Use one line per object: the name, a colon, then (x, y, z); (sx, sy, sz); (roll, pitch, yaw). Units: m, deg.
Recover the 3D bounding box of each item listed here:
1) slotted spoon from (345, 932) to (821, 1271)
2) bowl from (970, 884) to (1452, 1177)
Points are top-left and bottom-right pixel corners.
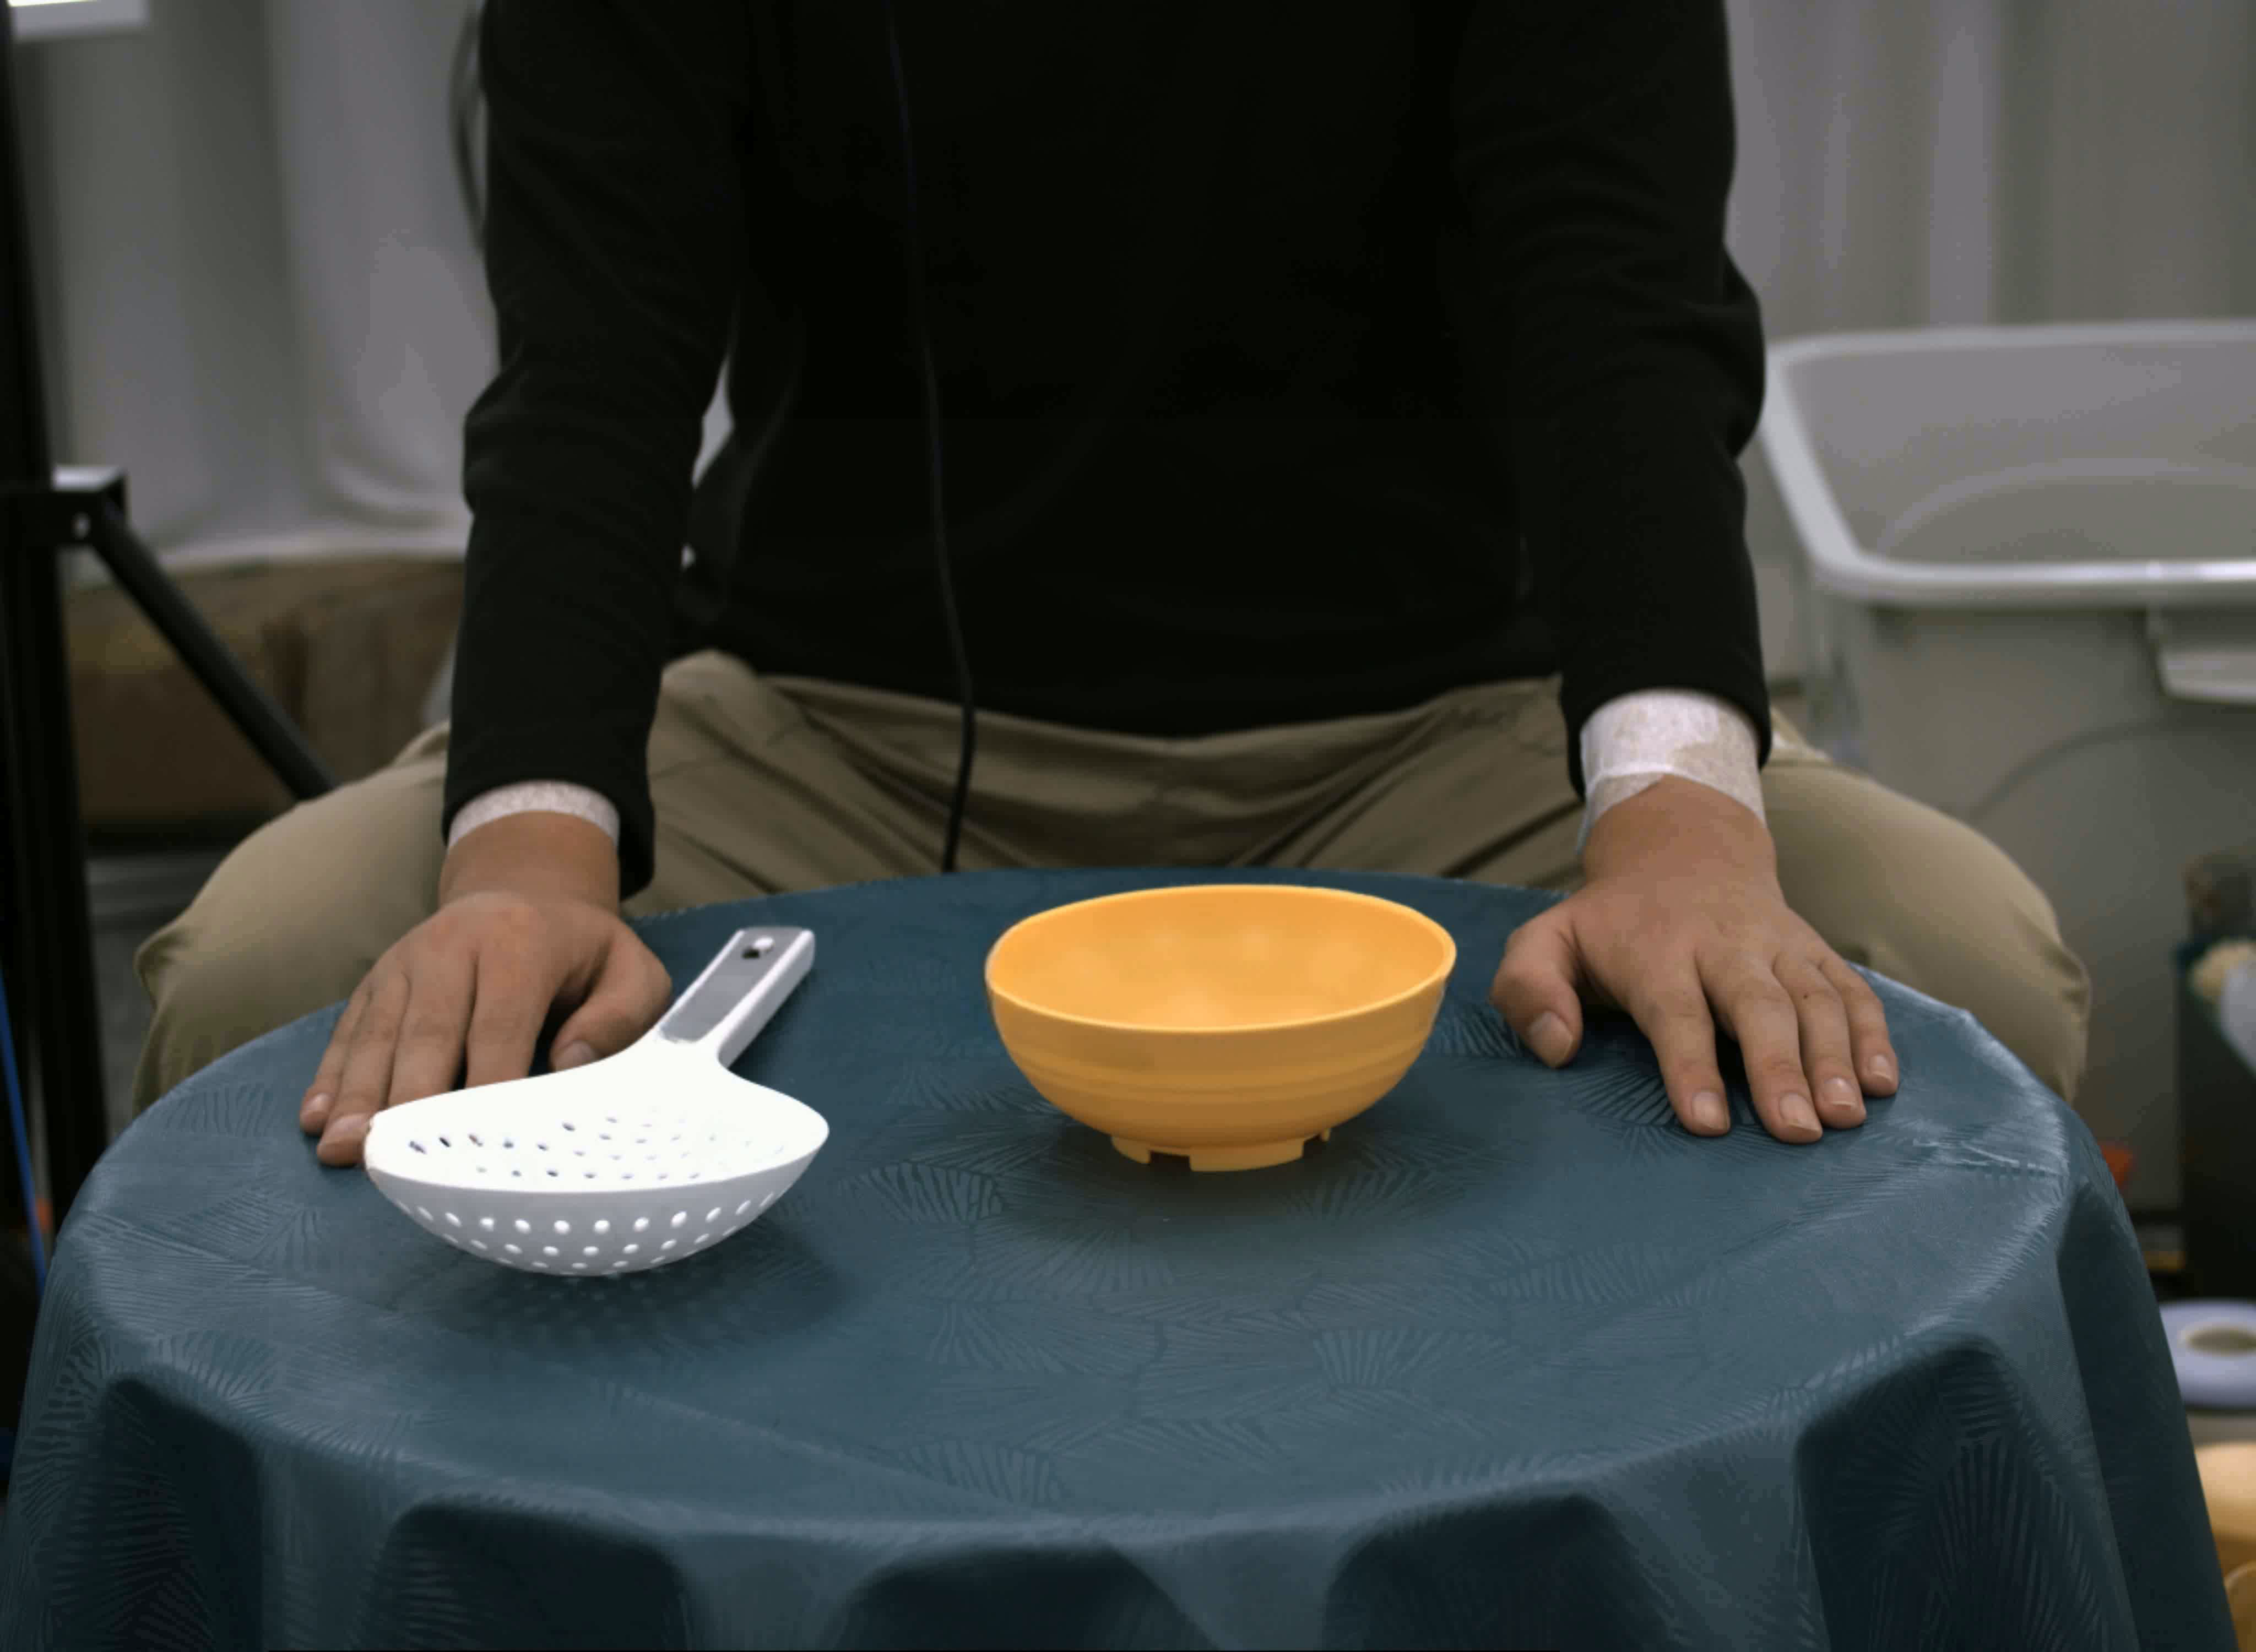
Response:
slotted spoon: (-0.141, 0.074, 1.617); (0.136, 0.046, 0.349); (0, 15, 7)
bowl: (0.025, 0.067, 1.596); (0.144, 0.060, 0.146); (-1, 16, -1)
